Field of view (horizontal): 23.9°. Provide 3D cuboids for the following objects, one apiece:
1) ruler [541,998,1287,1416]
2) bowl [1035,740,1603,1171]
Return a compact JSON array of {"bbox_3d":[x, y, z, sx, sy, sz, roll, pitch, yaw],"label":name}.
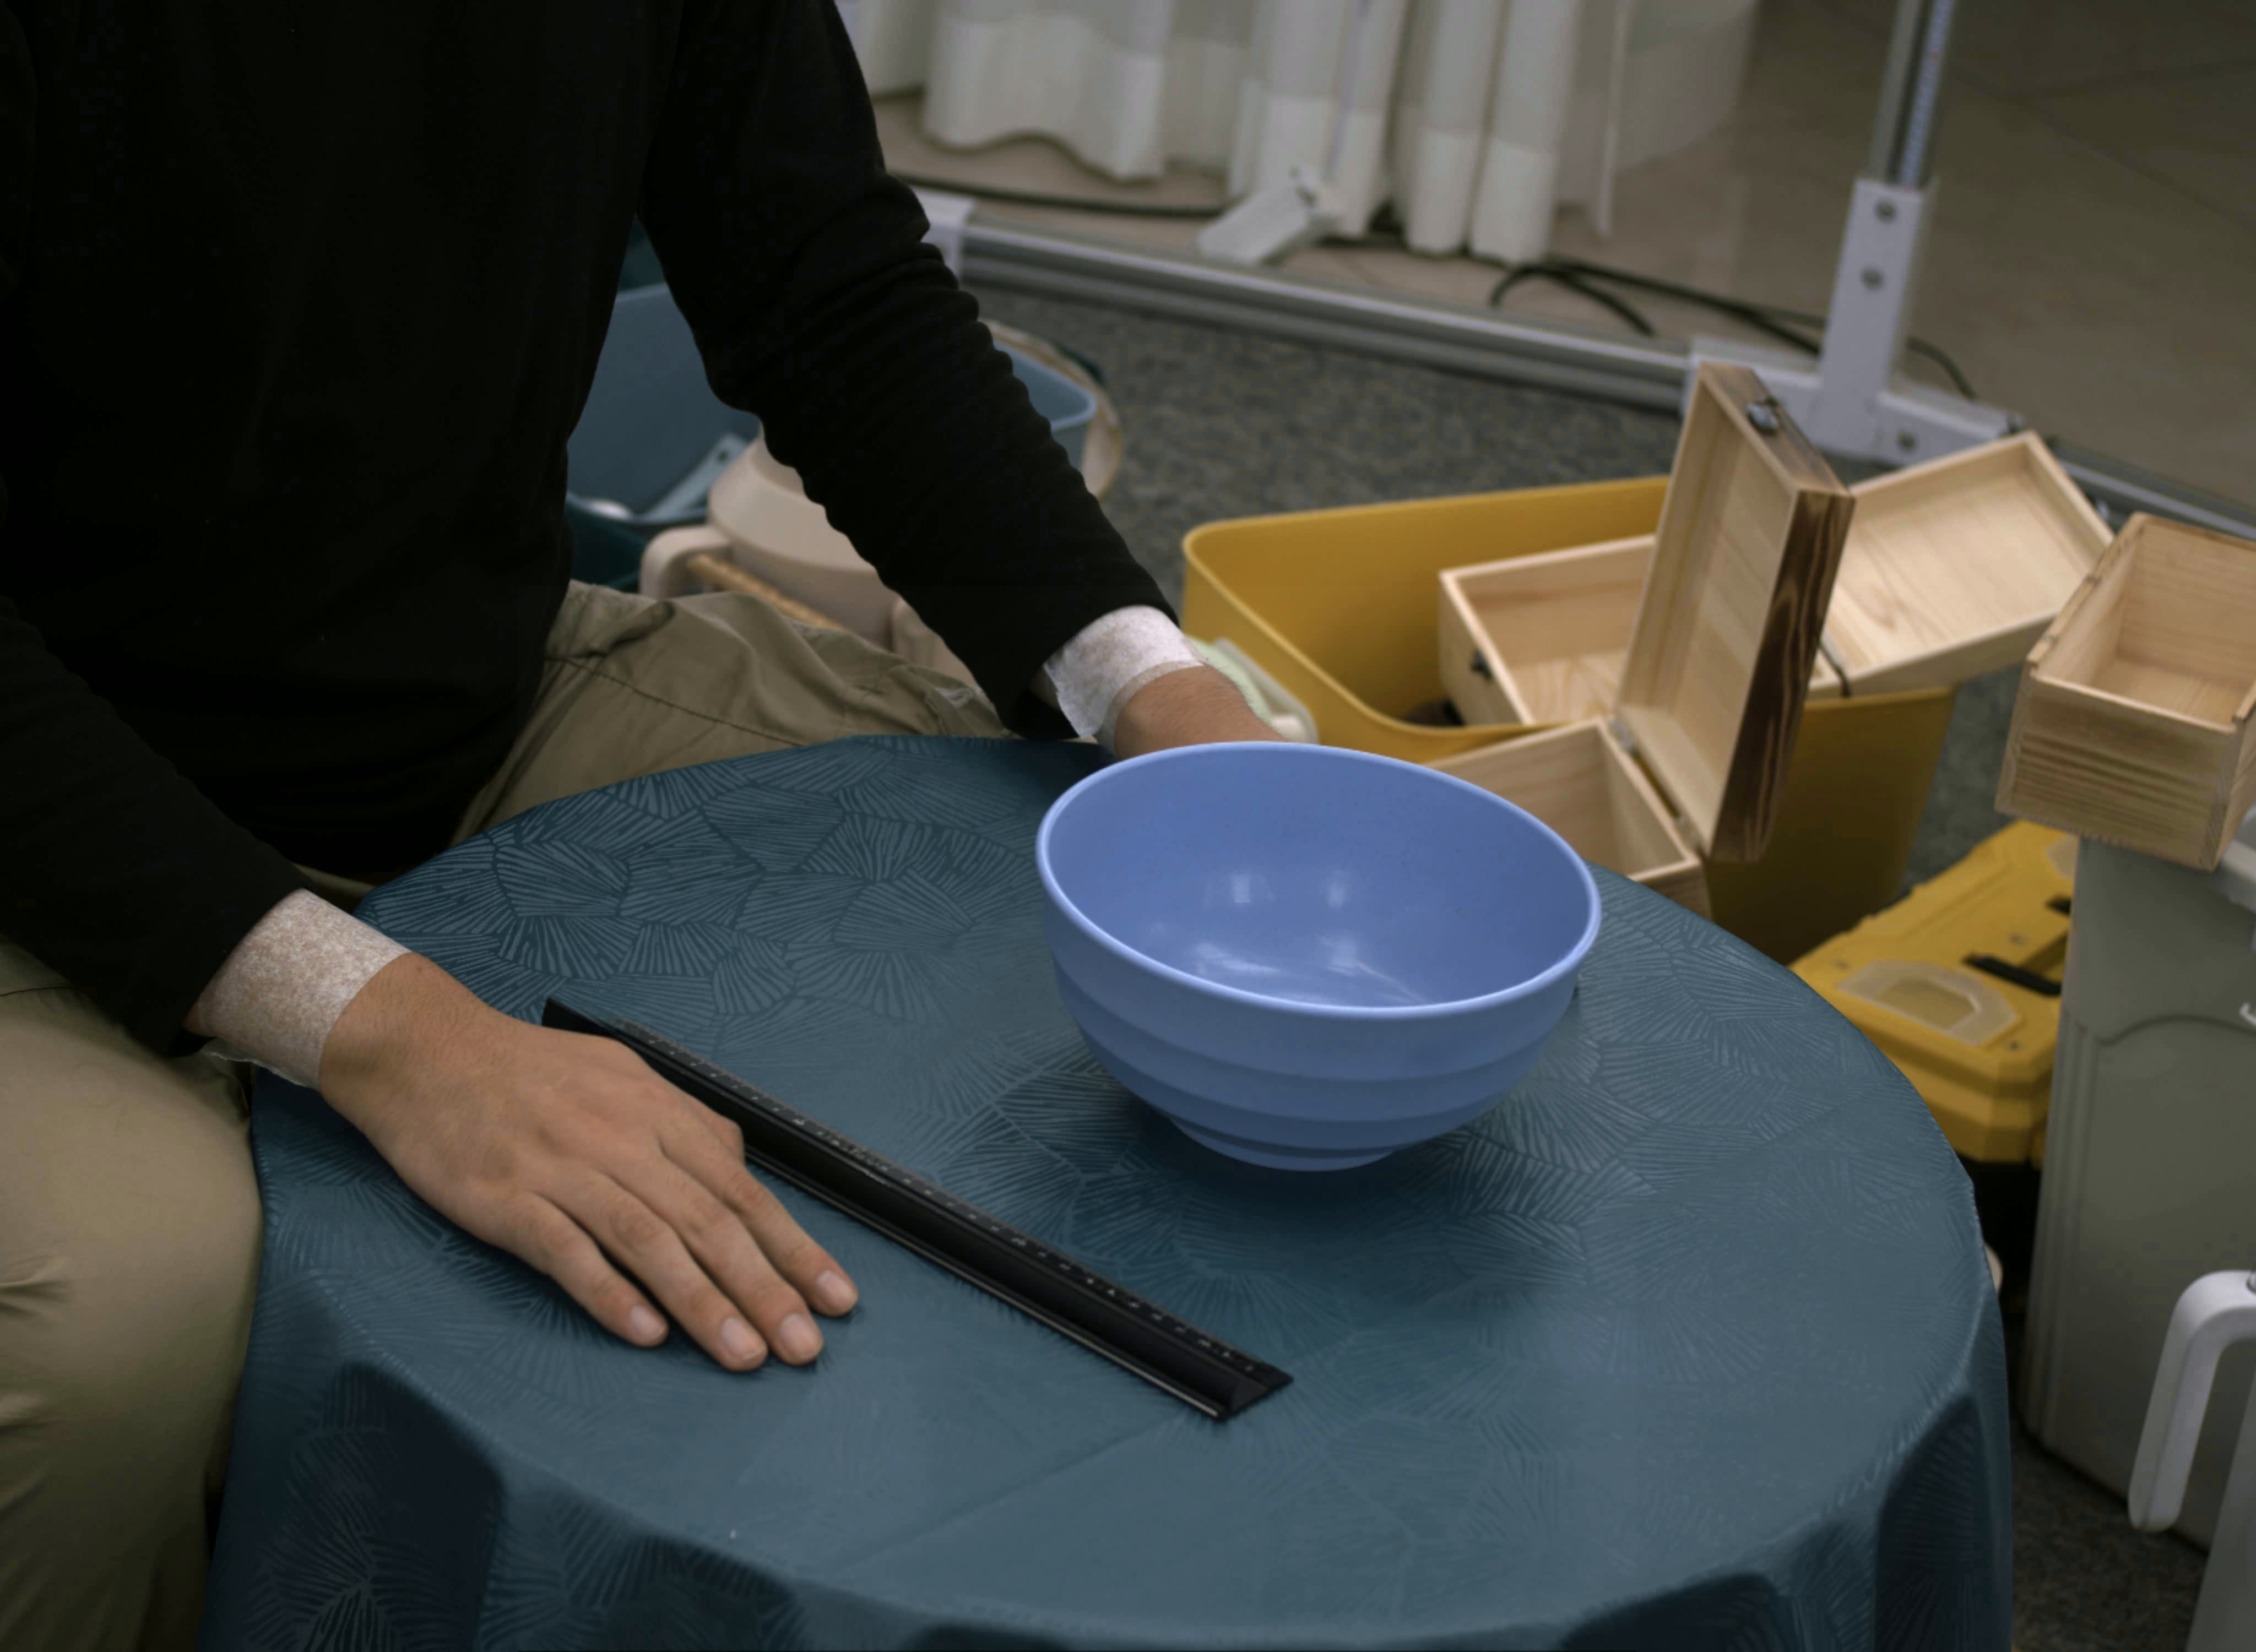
[{"bbox_3d":[-0.075,0.120,1.775,0.315,0.017,0.039,26,27,34],"label":"ruler"},{"bbox_3d":[0.060,0.056,1.843,0.196,0.095,0.197,6,27,-3],"label":"bowl"}]
